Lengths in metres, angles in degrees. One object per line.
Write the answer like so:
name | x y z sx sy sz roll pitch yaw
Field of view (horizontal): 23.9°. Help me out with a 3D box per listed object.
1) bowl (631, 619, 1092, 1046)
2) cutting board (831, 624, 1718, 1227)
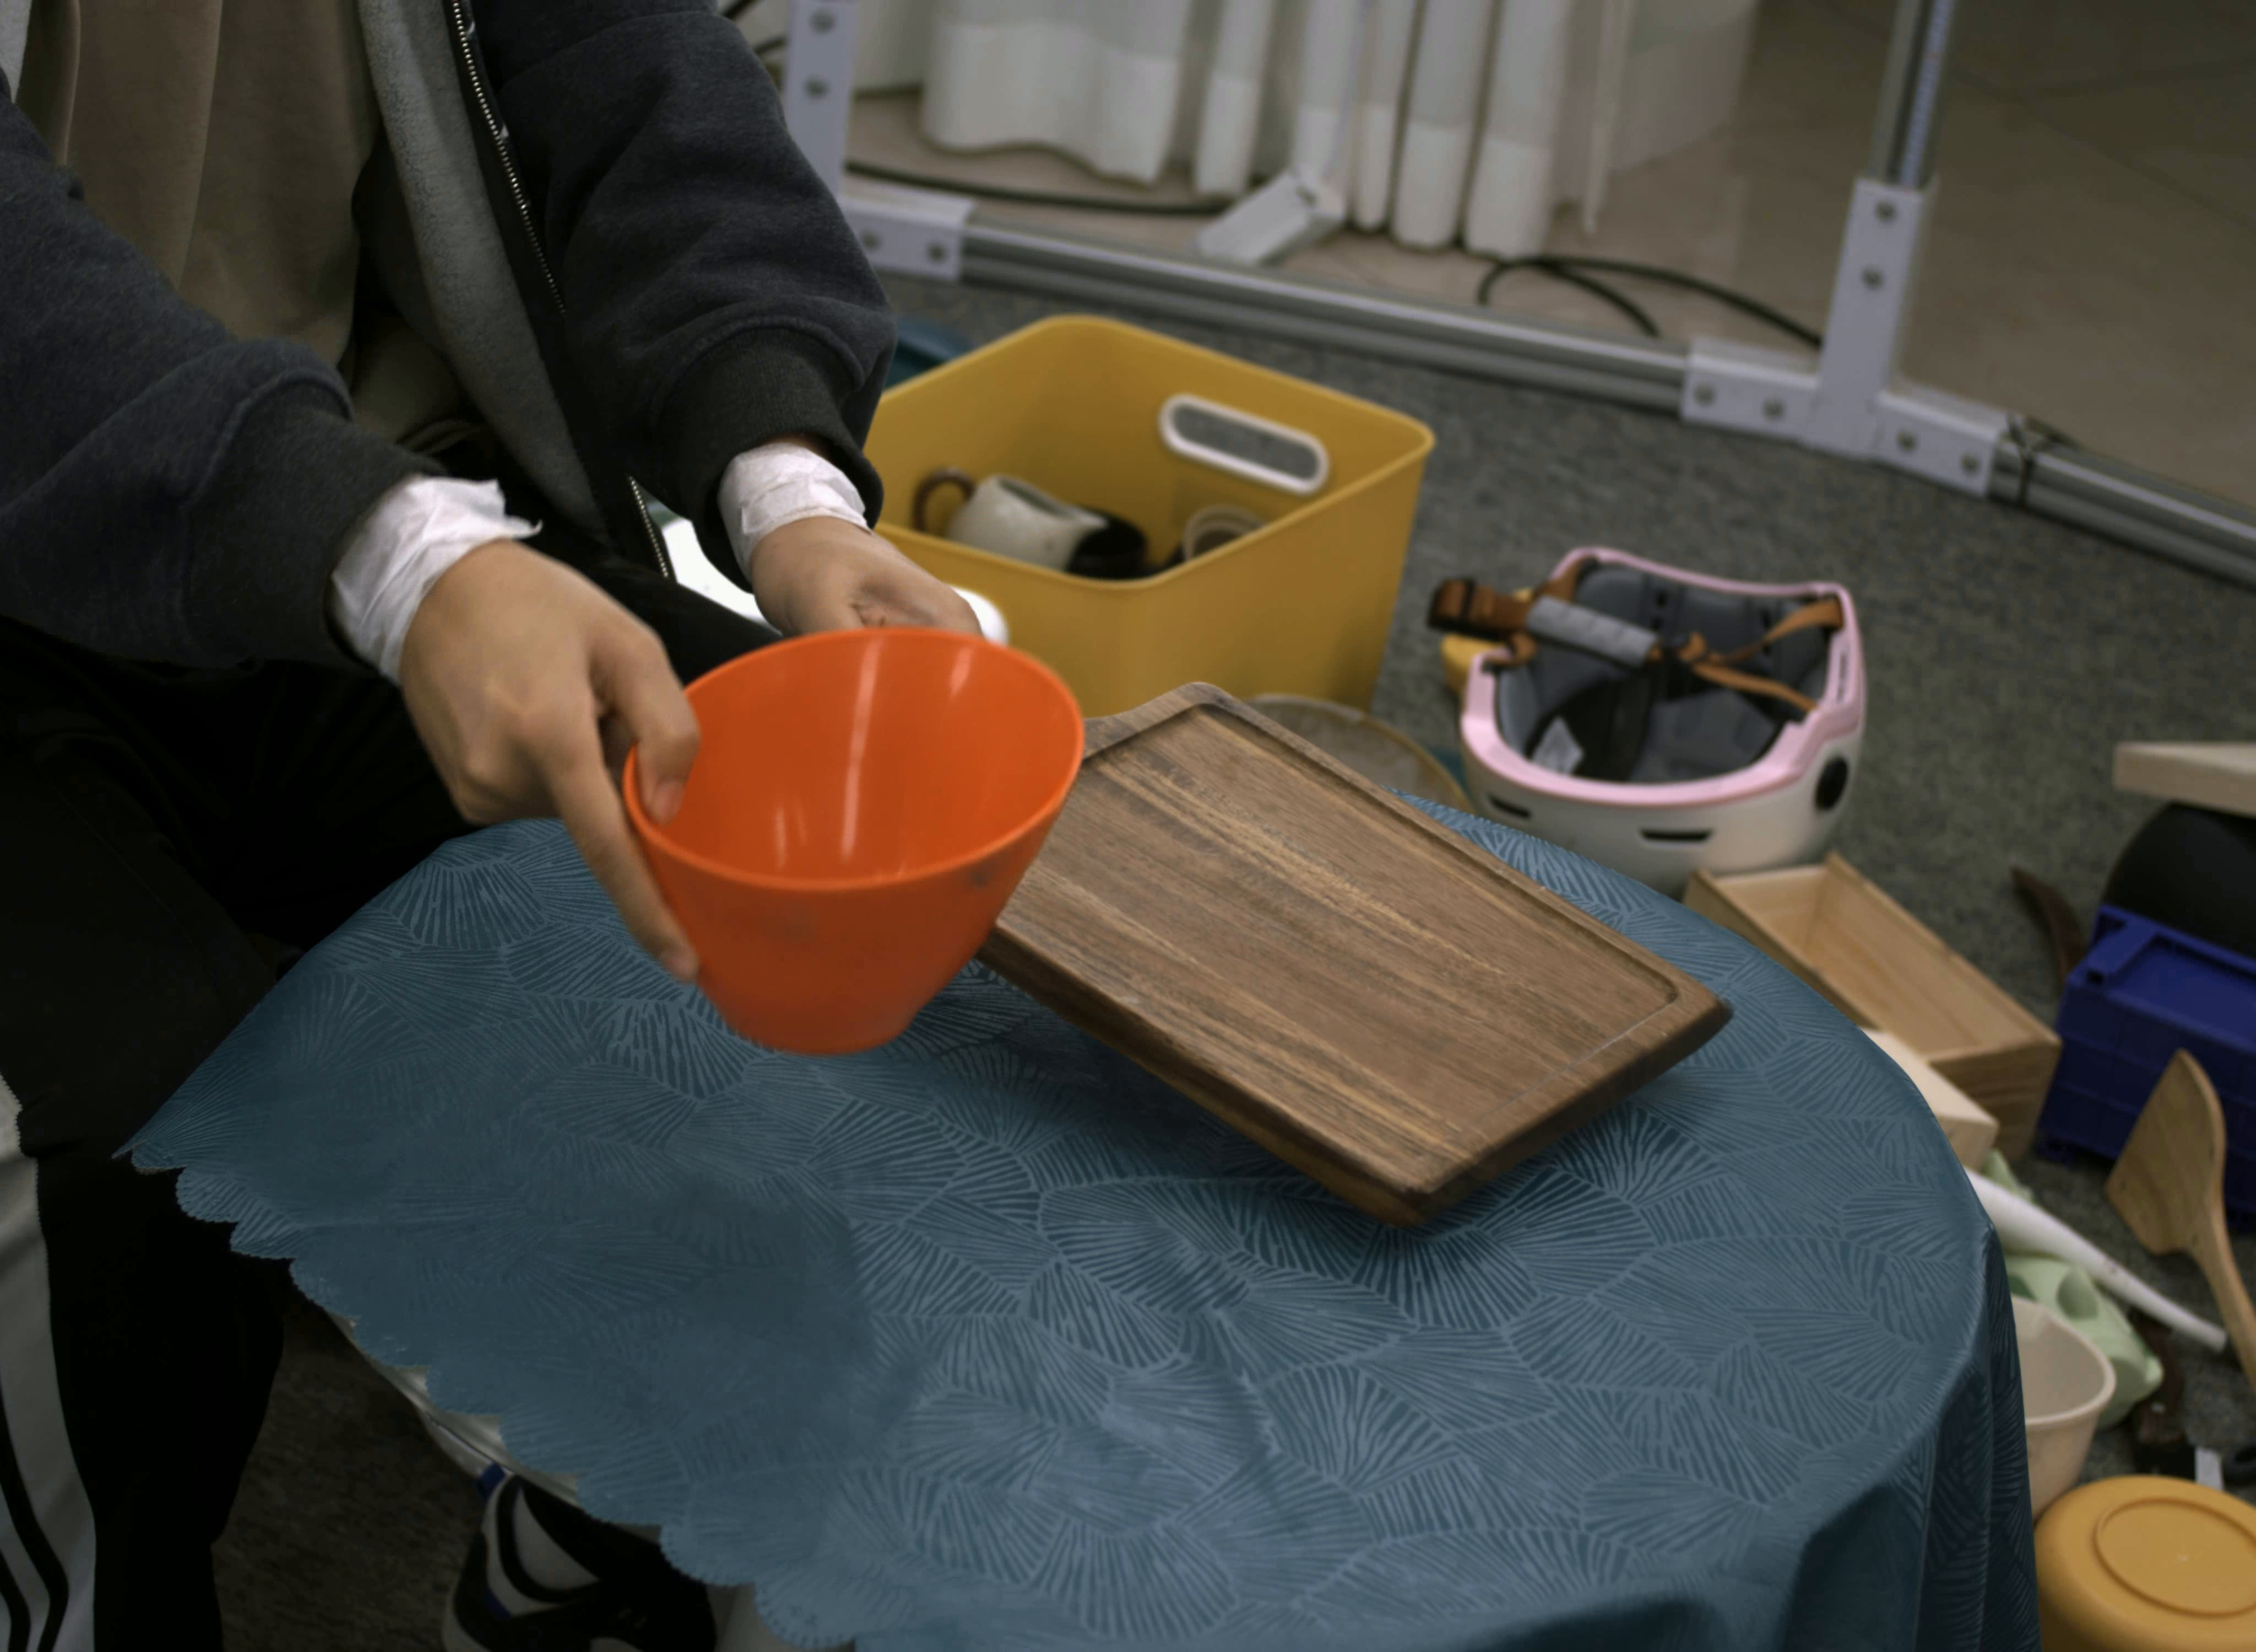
bowl | -0.088 0.008 1.724 0.147 0.104 0.149 3 29 -2
cutting board | 0.021 0.016 1.912 0.354 0.023 0.200 32 37 27
